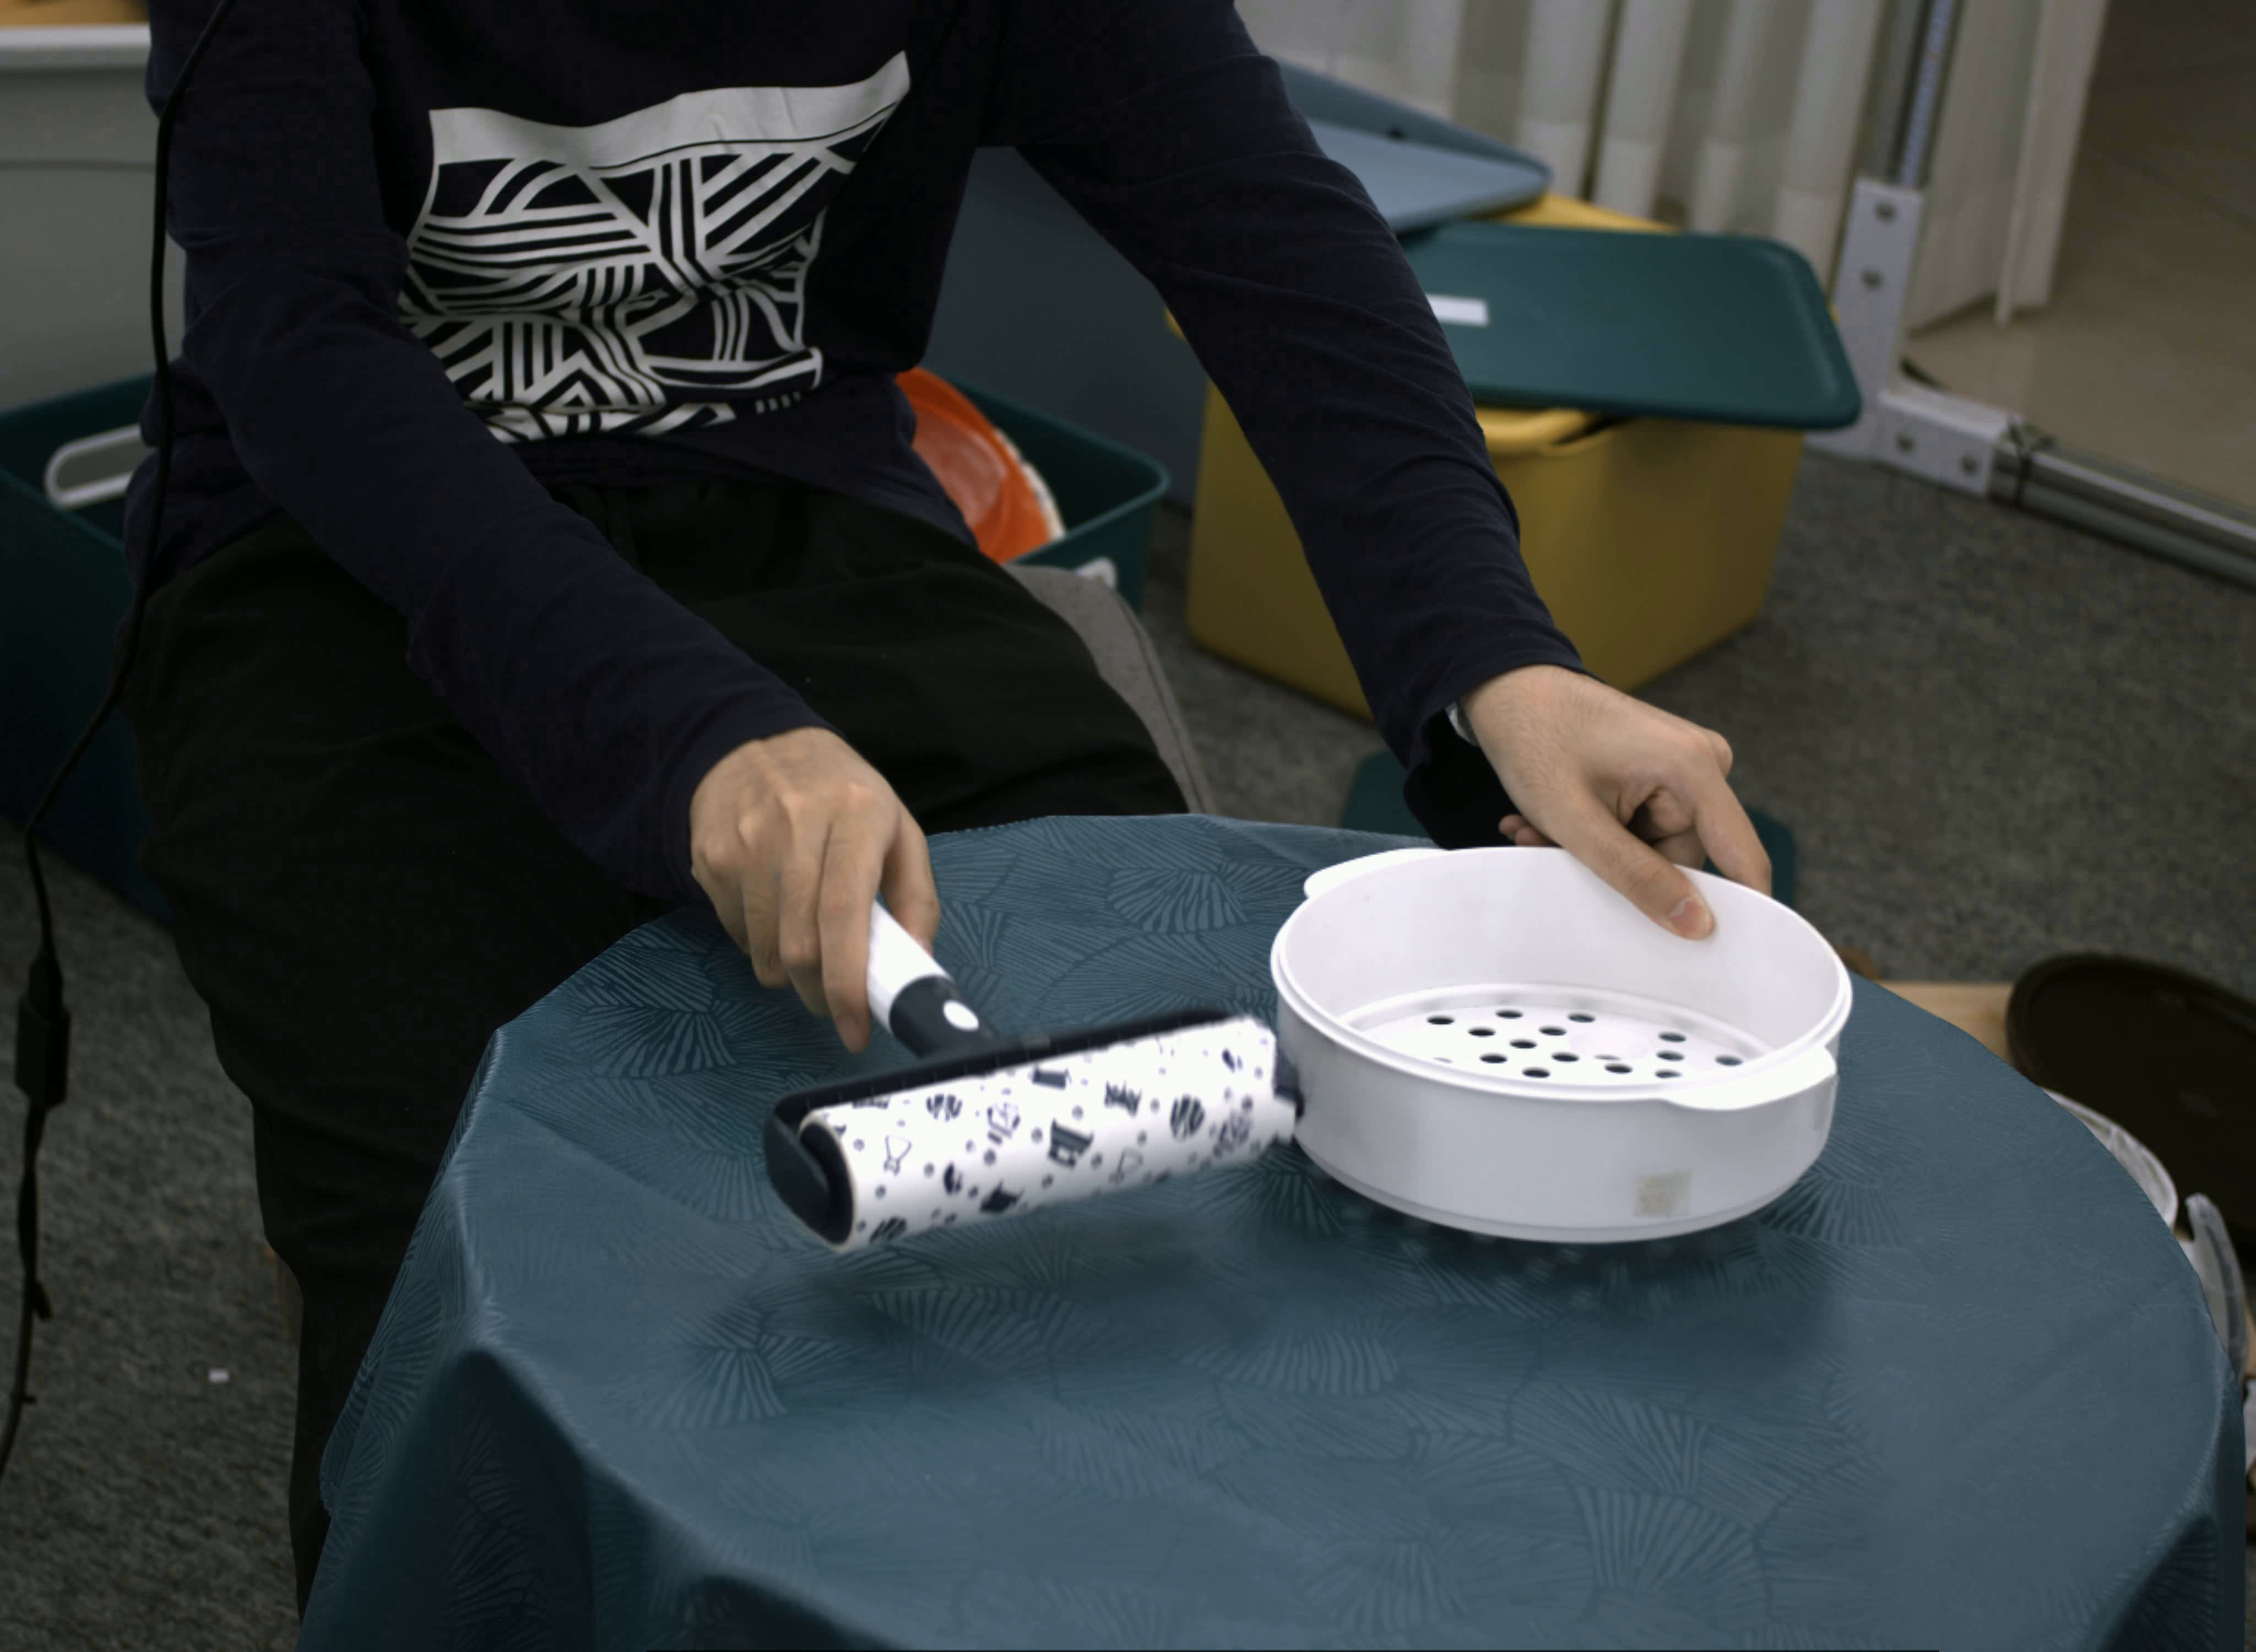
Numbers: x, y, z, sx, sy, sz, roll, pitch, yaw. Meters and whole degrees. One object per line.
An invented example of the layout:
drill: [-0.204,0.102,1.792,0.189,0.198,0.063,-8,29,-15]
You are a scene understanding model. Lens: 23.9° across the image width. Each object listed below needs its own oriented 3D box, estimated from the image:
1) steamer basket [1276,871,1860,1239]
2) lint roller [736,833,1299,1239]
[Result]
steamer basket: [0.151,0.079,1.842,0.201,0.069,0.232,-14,23,-32]
lint roller: [-0.076,0.053,1.805,0.175,0.050,0.249,-14,30,-25]
